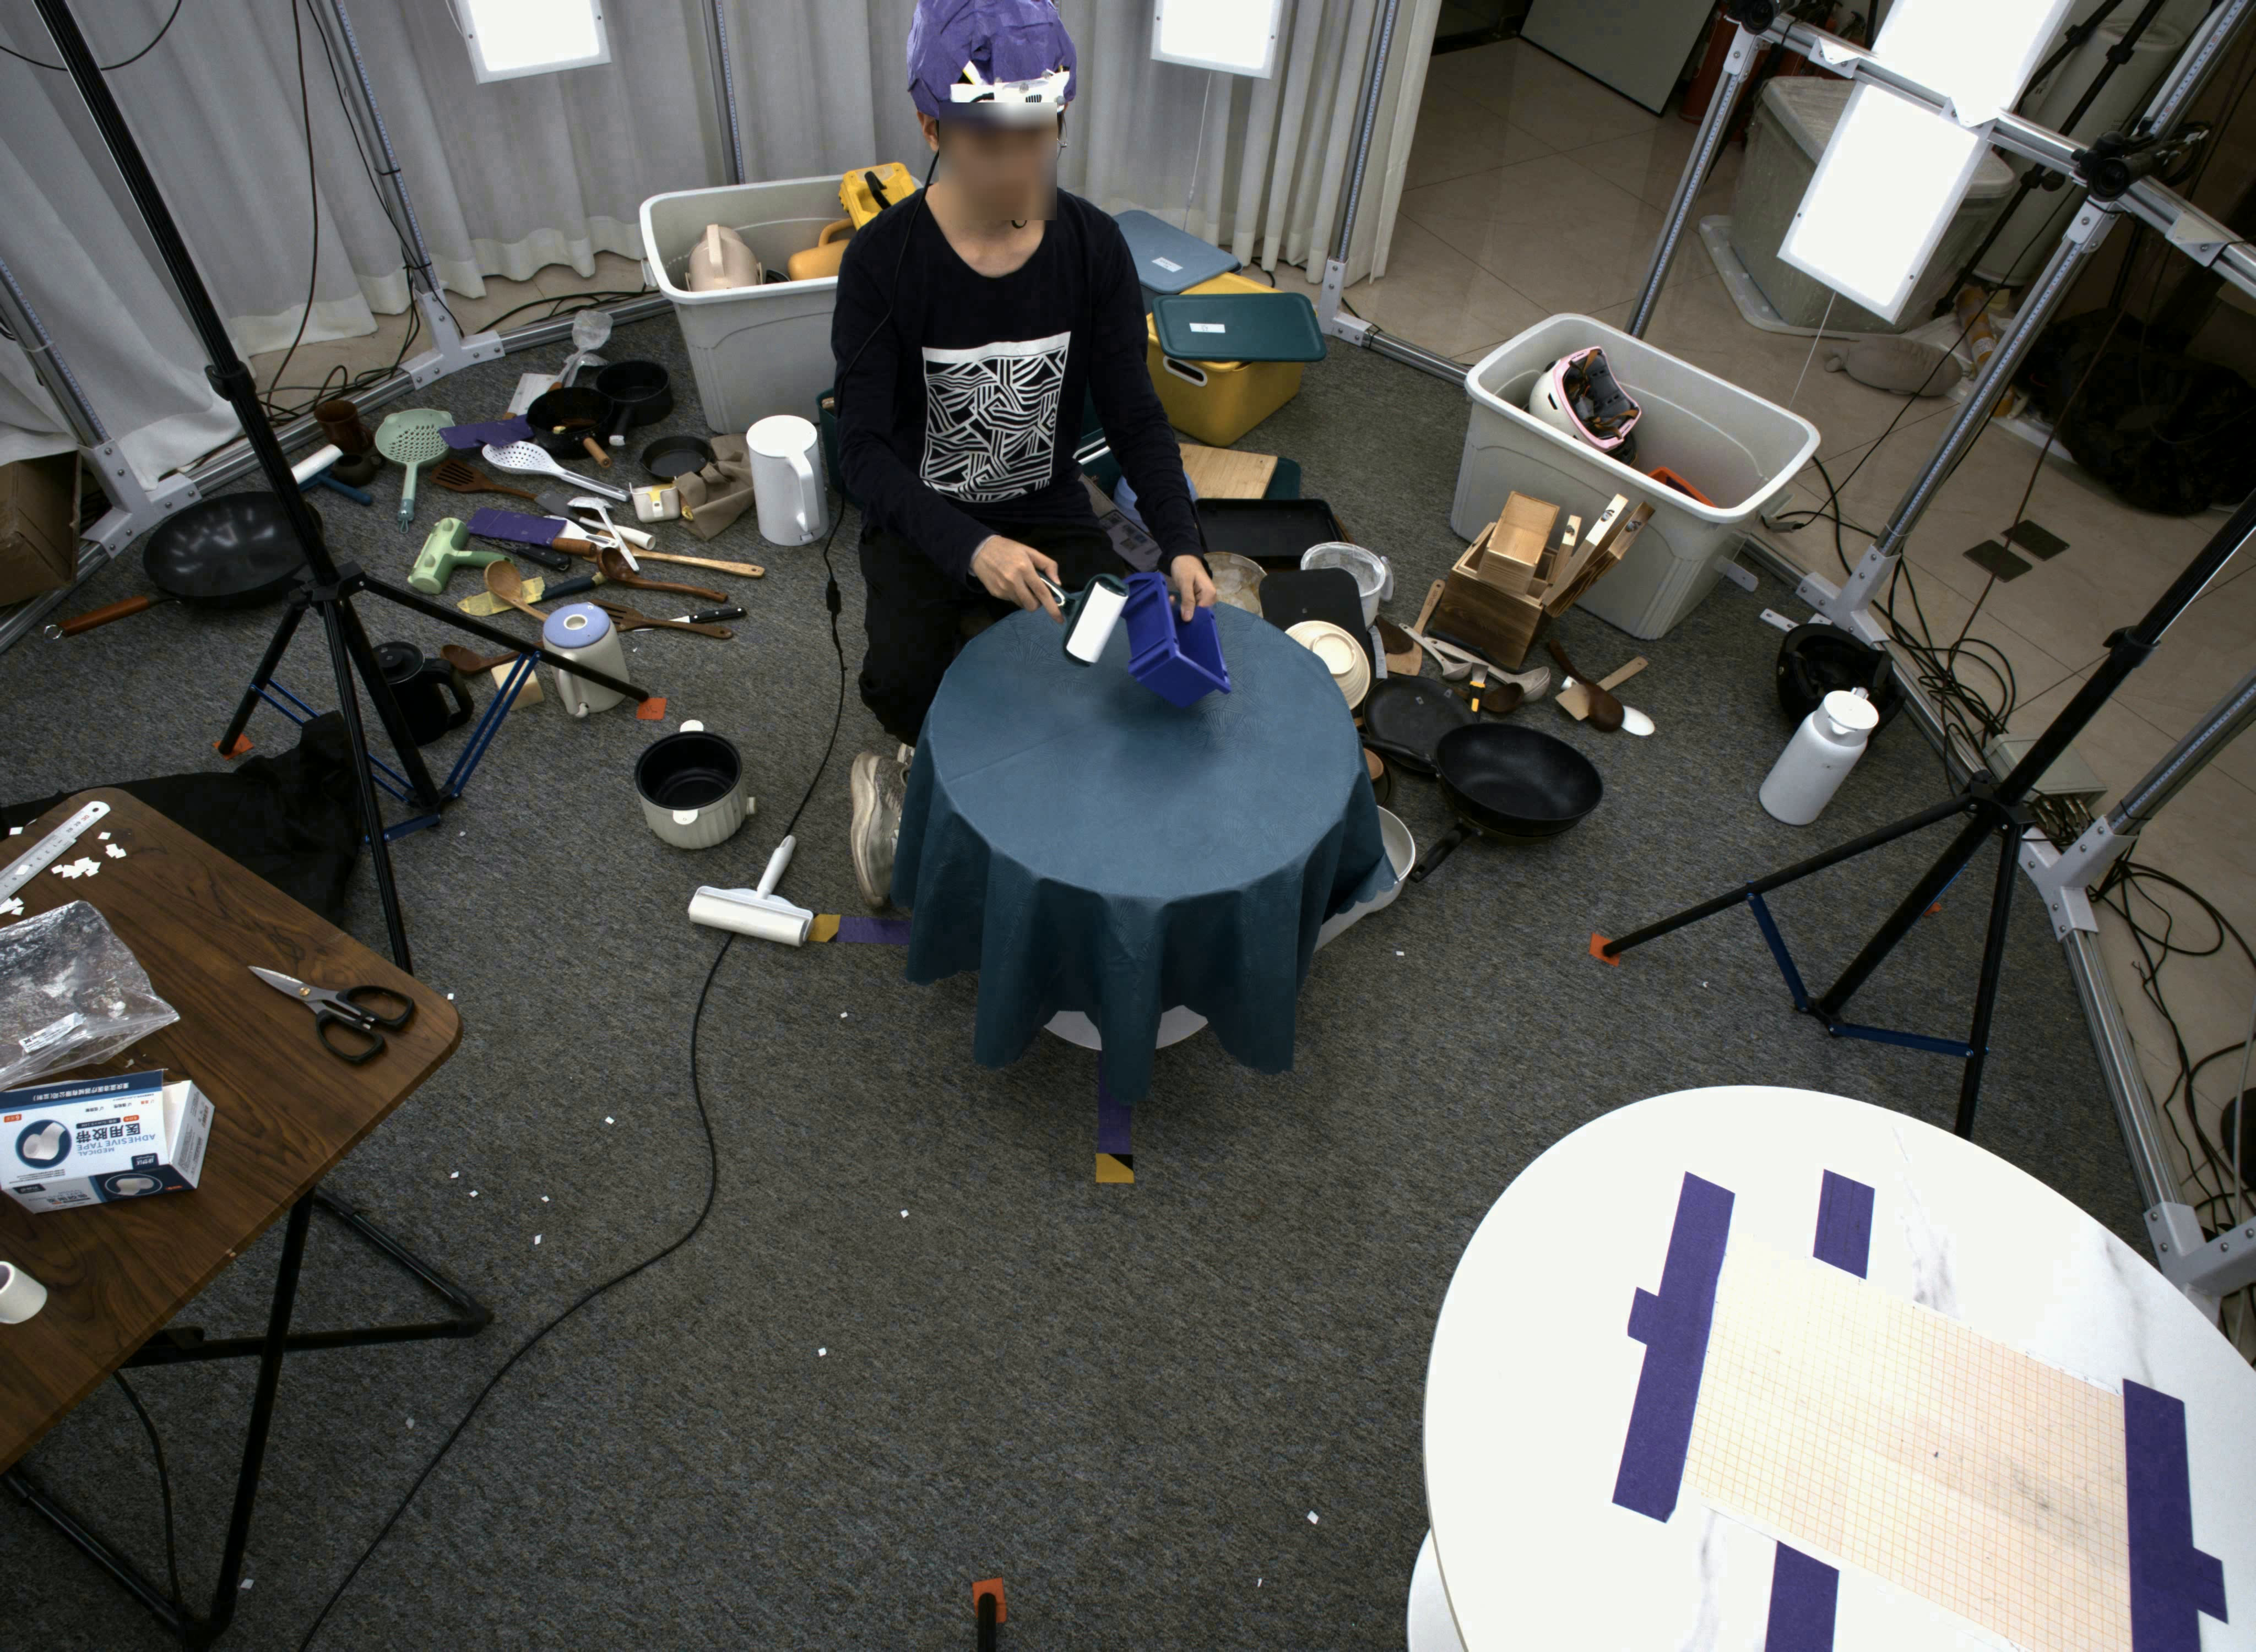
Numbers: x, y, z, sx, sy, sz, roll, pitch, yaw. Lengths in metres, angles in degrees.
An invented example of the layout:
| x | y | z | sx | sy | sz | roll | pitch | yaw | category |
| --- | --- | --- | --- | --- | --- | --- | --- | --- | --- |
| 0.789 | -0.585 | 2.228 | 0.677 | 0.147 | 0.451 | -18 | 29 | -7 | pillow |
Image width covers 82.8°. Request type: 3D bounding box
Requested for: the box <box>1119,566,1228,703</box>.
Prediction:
| x | y | z | sx | sy | sz | roll | pitch | yaw | category |
| --- | --- | --- | --- | --- | --- | --- | --- | --- | --- |
| 0.059 | -0.270 | 1.781 | 0.122 | 0.081 | 0.183 | 27 | 45 | -40 | box |

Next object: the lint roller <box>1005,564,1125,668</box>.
| x | y | z | sx | sy | sz | roll | pitch | yaw | category |
| --- | --- | --- | --- | --- | --- | --- | --- | --- | --- |
| -0.100 | -0.309 | 1.752 | 0.181 | 0.132 | 0.048 | 31 | 20 | 13 | lint roller |
